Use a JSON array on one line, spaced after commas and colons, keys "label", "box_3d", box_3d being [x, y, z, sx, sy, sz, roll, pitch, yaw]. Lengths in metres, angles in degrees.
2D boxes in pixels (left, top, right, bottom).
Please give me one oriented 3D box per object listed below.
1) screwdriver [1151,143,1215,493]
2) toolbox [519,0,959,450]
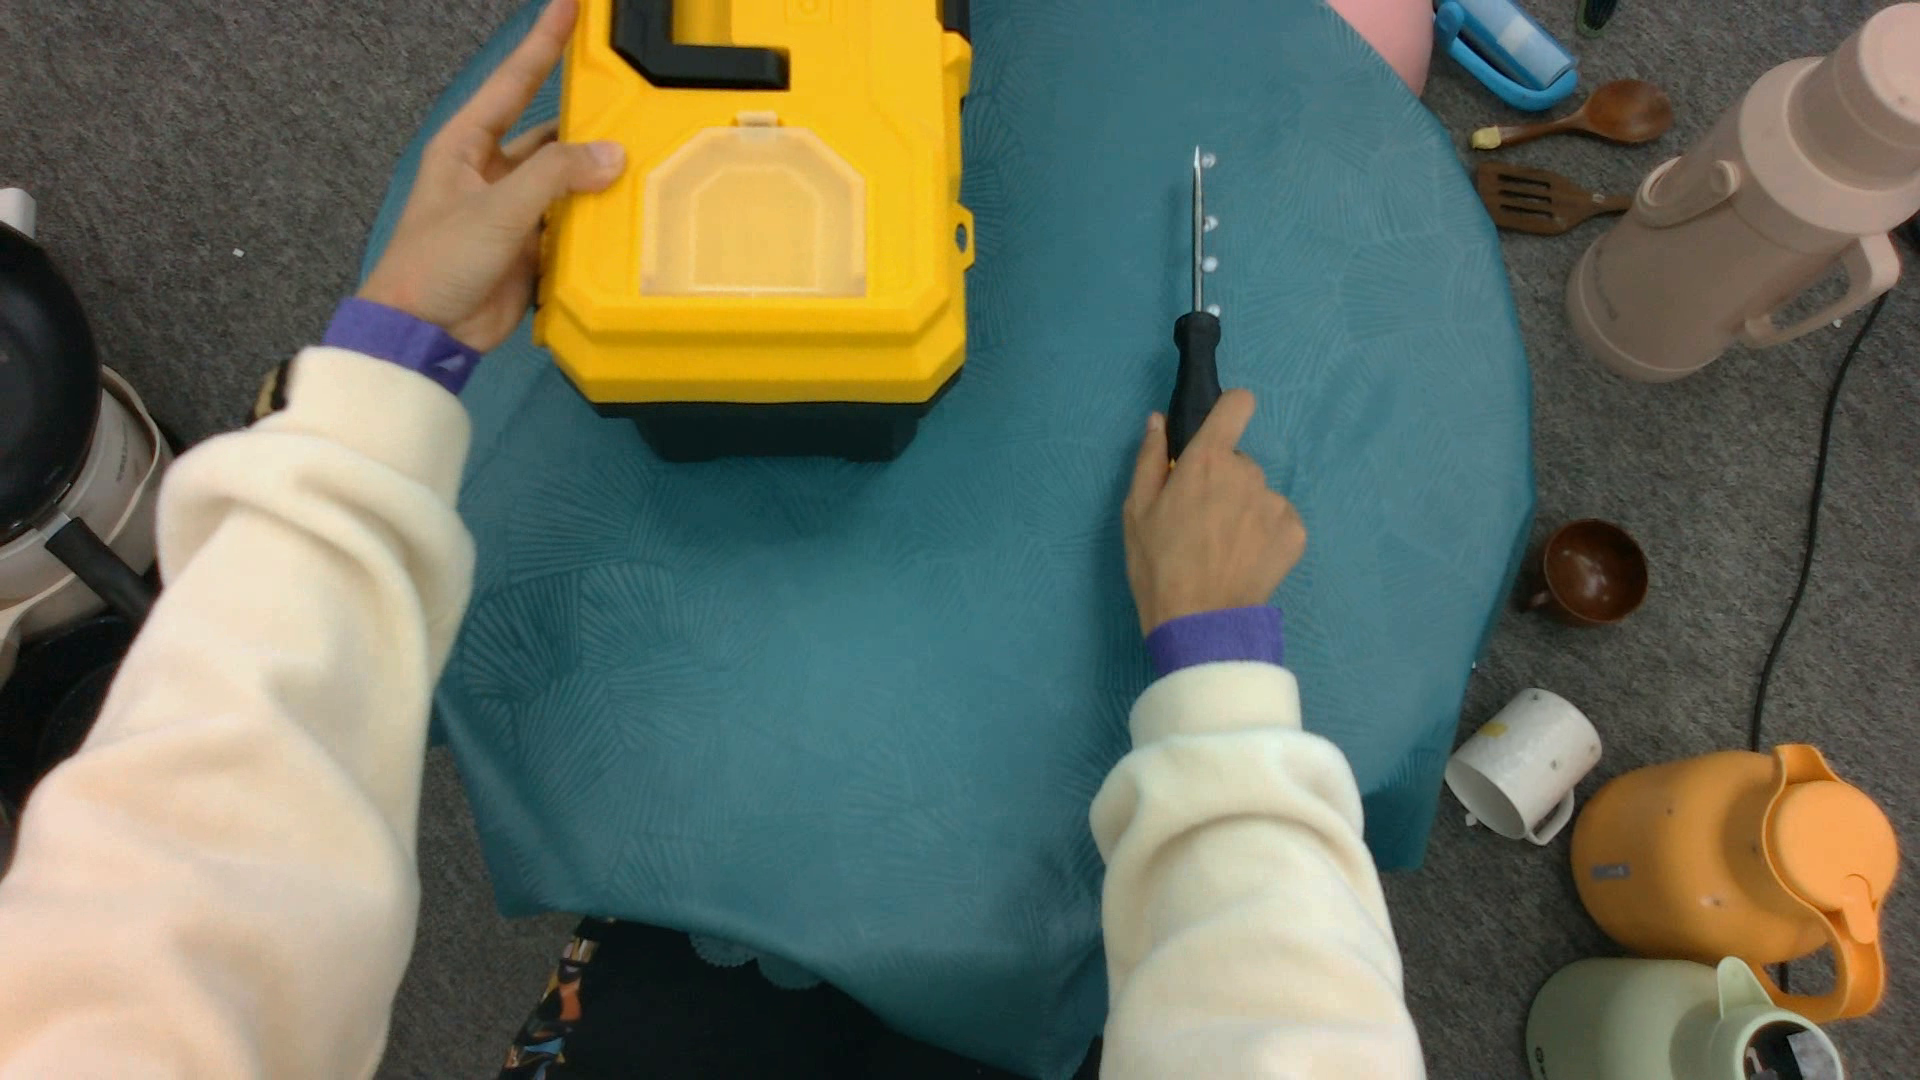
[{"label": "screwdriver", "box_3d": [0.113, -0.115, 0.696, 0.031, 0.031, 0.198, 5, 67, -3]}, {"label": "toolbox", "box_3d": [-0.097, -0.218, 0.638, 0.181, 0.172, 0.352, 0, 73, -5]}]
